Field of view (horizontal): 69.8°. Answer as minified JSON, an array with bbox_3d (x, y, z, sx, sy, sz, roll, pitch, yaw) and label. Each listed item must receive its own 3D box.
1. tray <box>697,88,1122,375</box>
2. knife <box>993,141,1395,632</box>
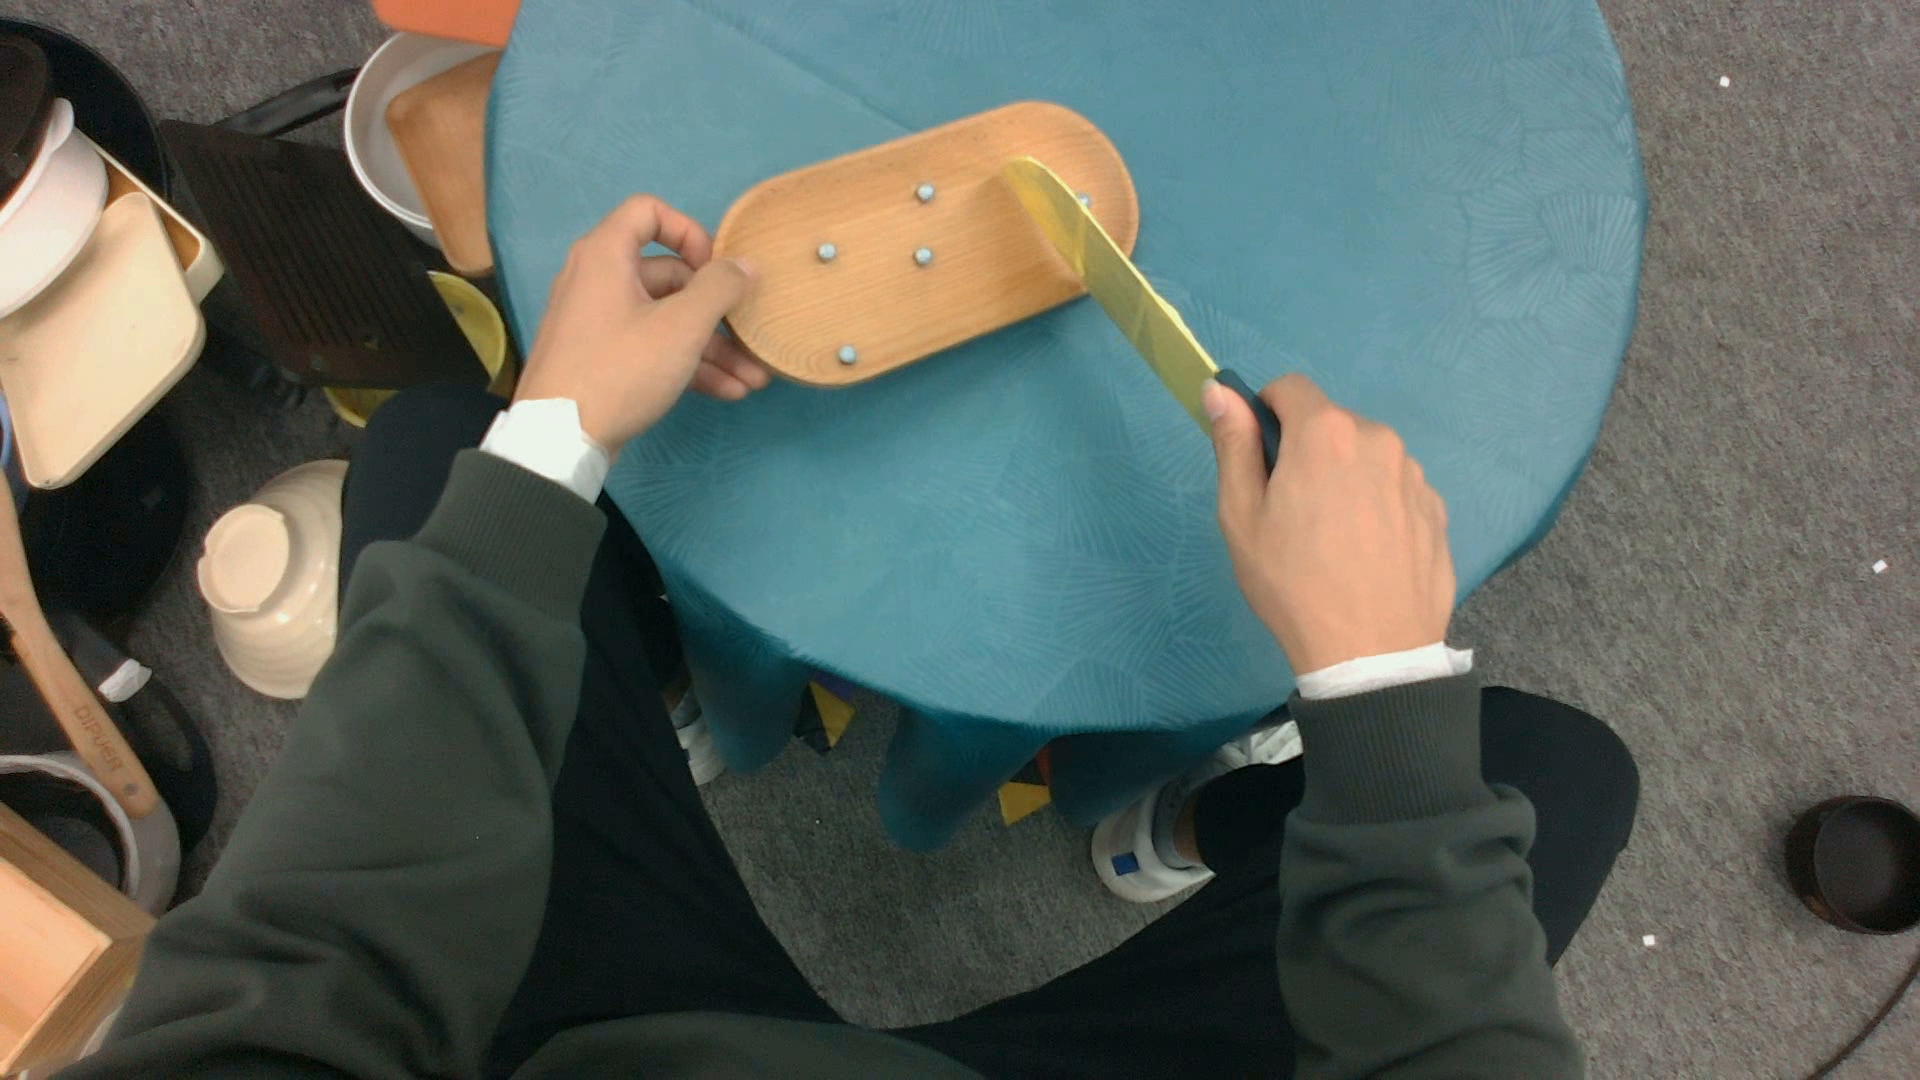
[{"bbox_3d":[-0.018,-0.150,0.659,0.232,0.020,0.101,-26,92,-28],"label":"tray"},{"bbox_3d":[0.097,-0.076,0.623,0.027,0.081,0.290,-35,75,-3],"label":"knife"}]
